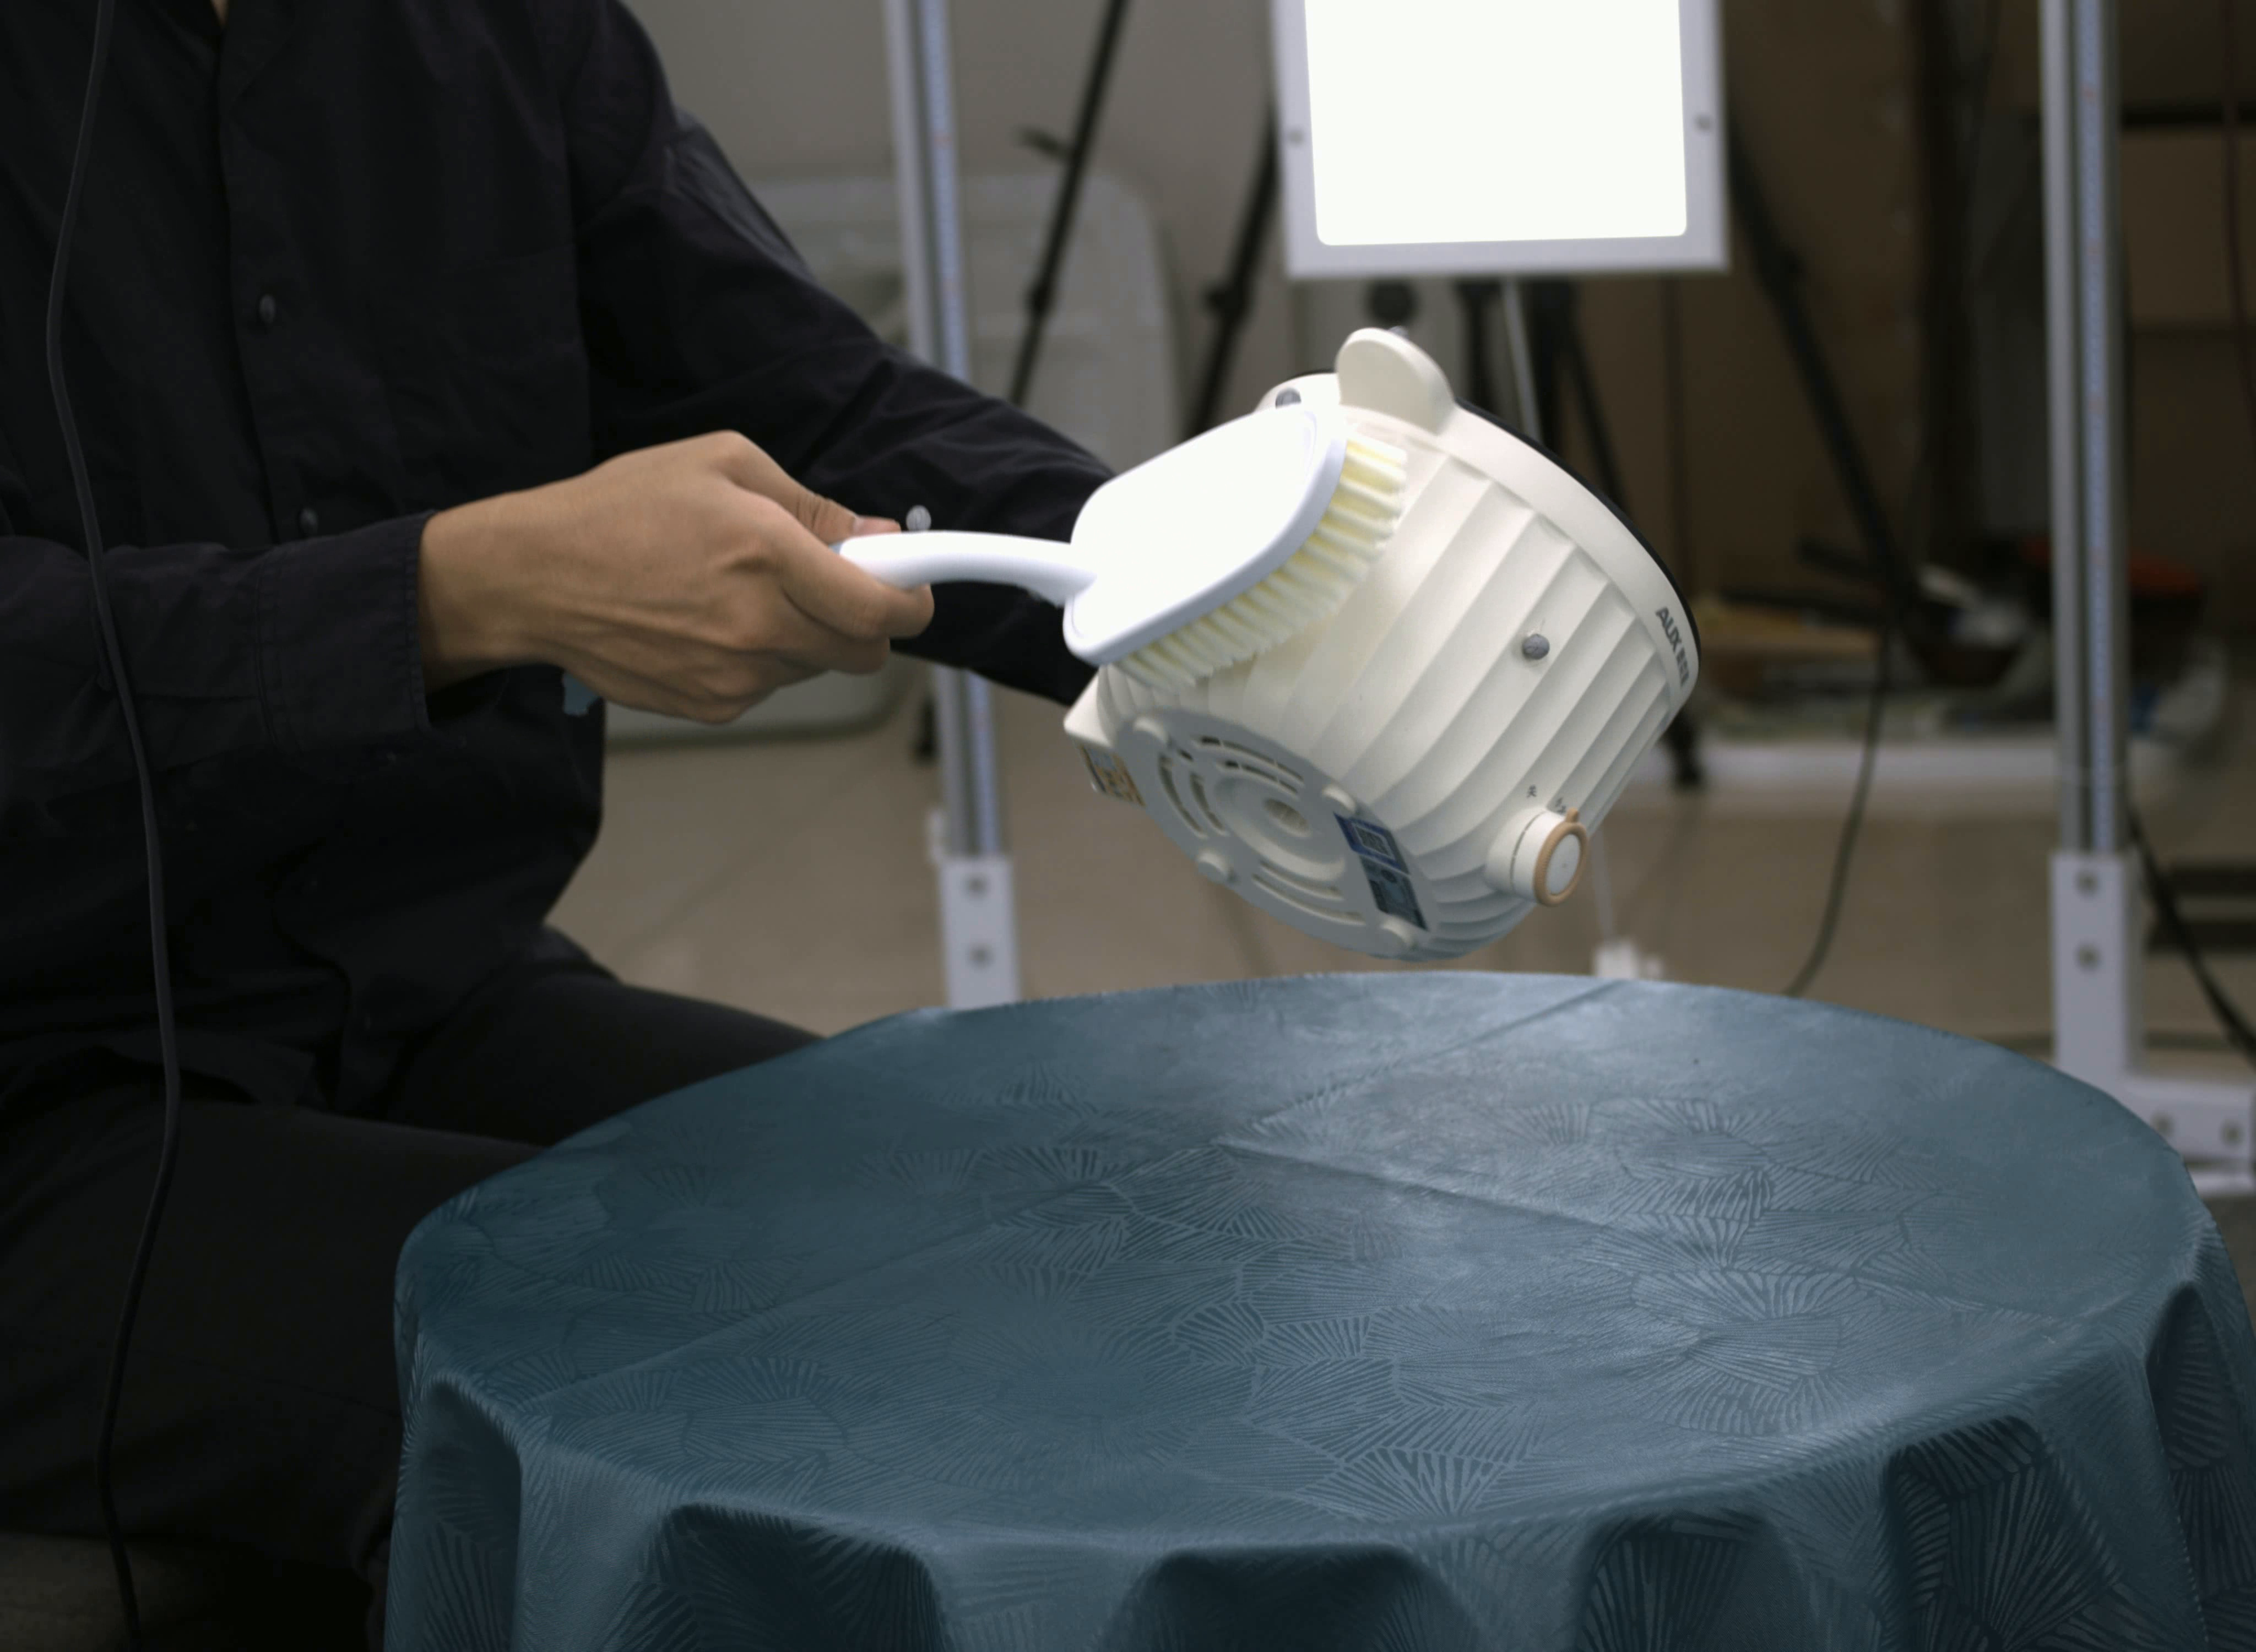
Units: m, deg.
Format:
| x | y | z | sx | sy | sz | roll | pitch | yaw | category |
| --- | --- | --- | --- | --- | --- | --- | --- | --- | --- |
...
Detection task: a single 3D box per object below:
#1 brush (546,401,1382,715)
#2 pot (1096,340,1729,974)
| x | y | z | sx | sy | sz | roll | pitch | yaw | category |
| --- | --- | --- | --- | --- | --- | --- | --- | --- | --- |
| -0.050 | -0.074 | 1.829 | 0.332 | 0.084 | 0.081 | -16 | 16 | 33 | brush |
| 0.101 | -0.041 | 1.891 | 0.194 | 0.239 | 0.141 | 19 | 63 | 31 | pot |
